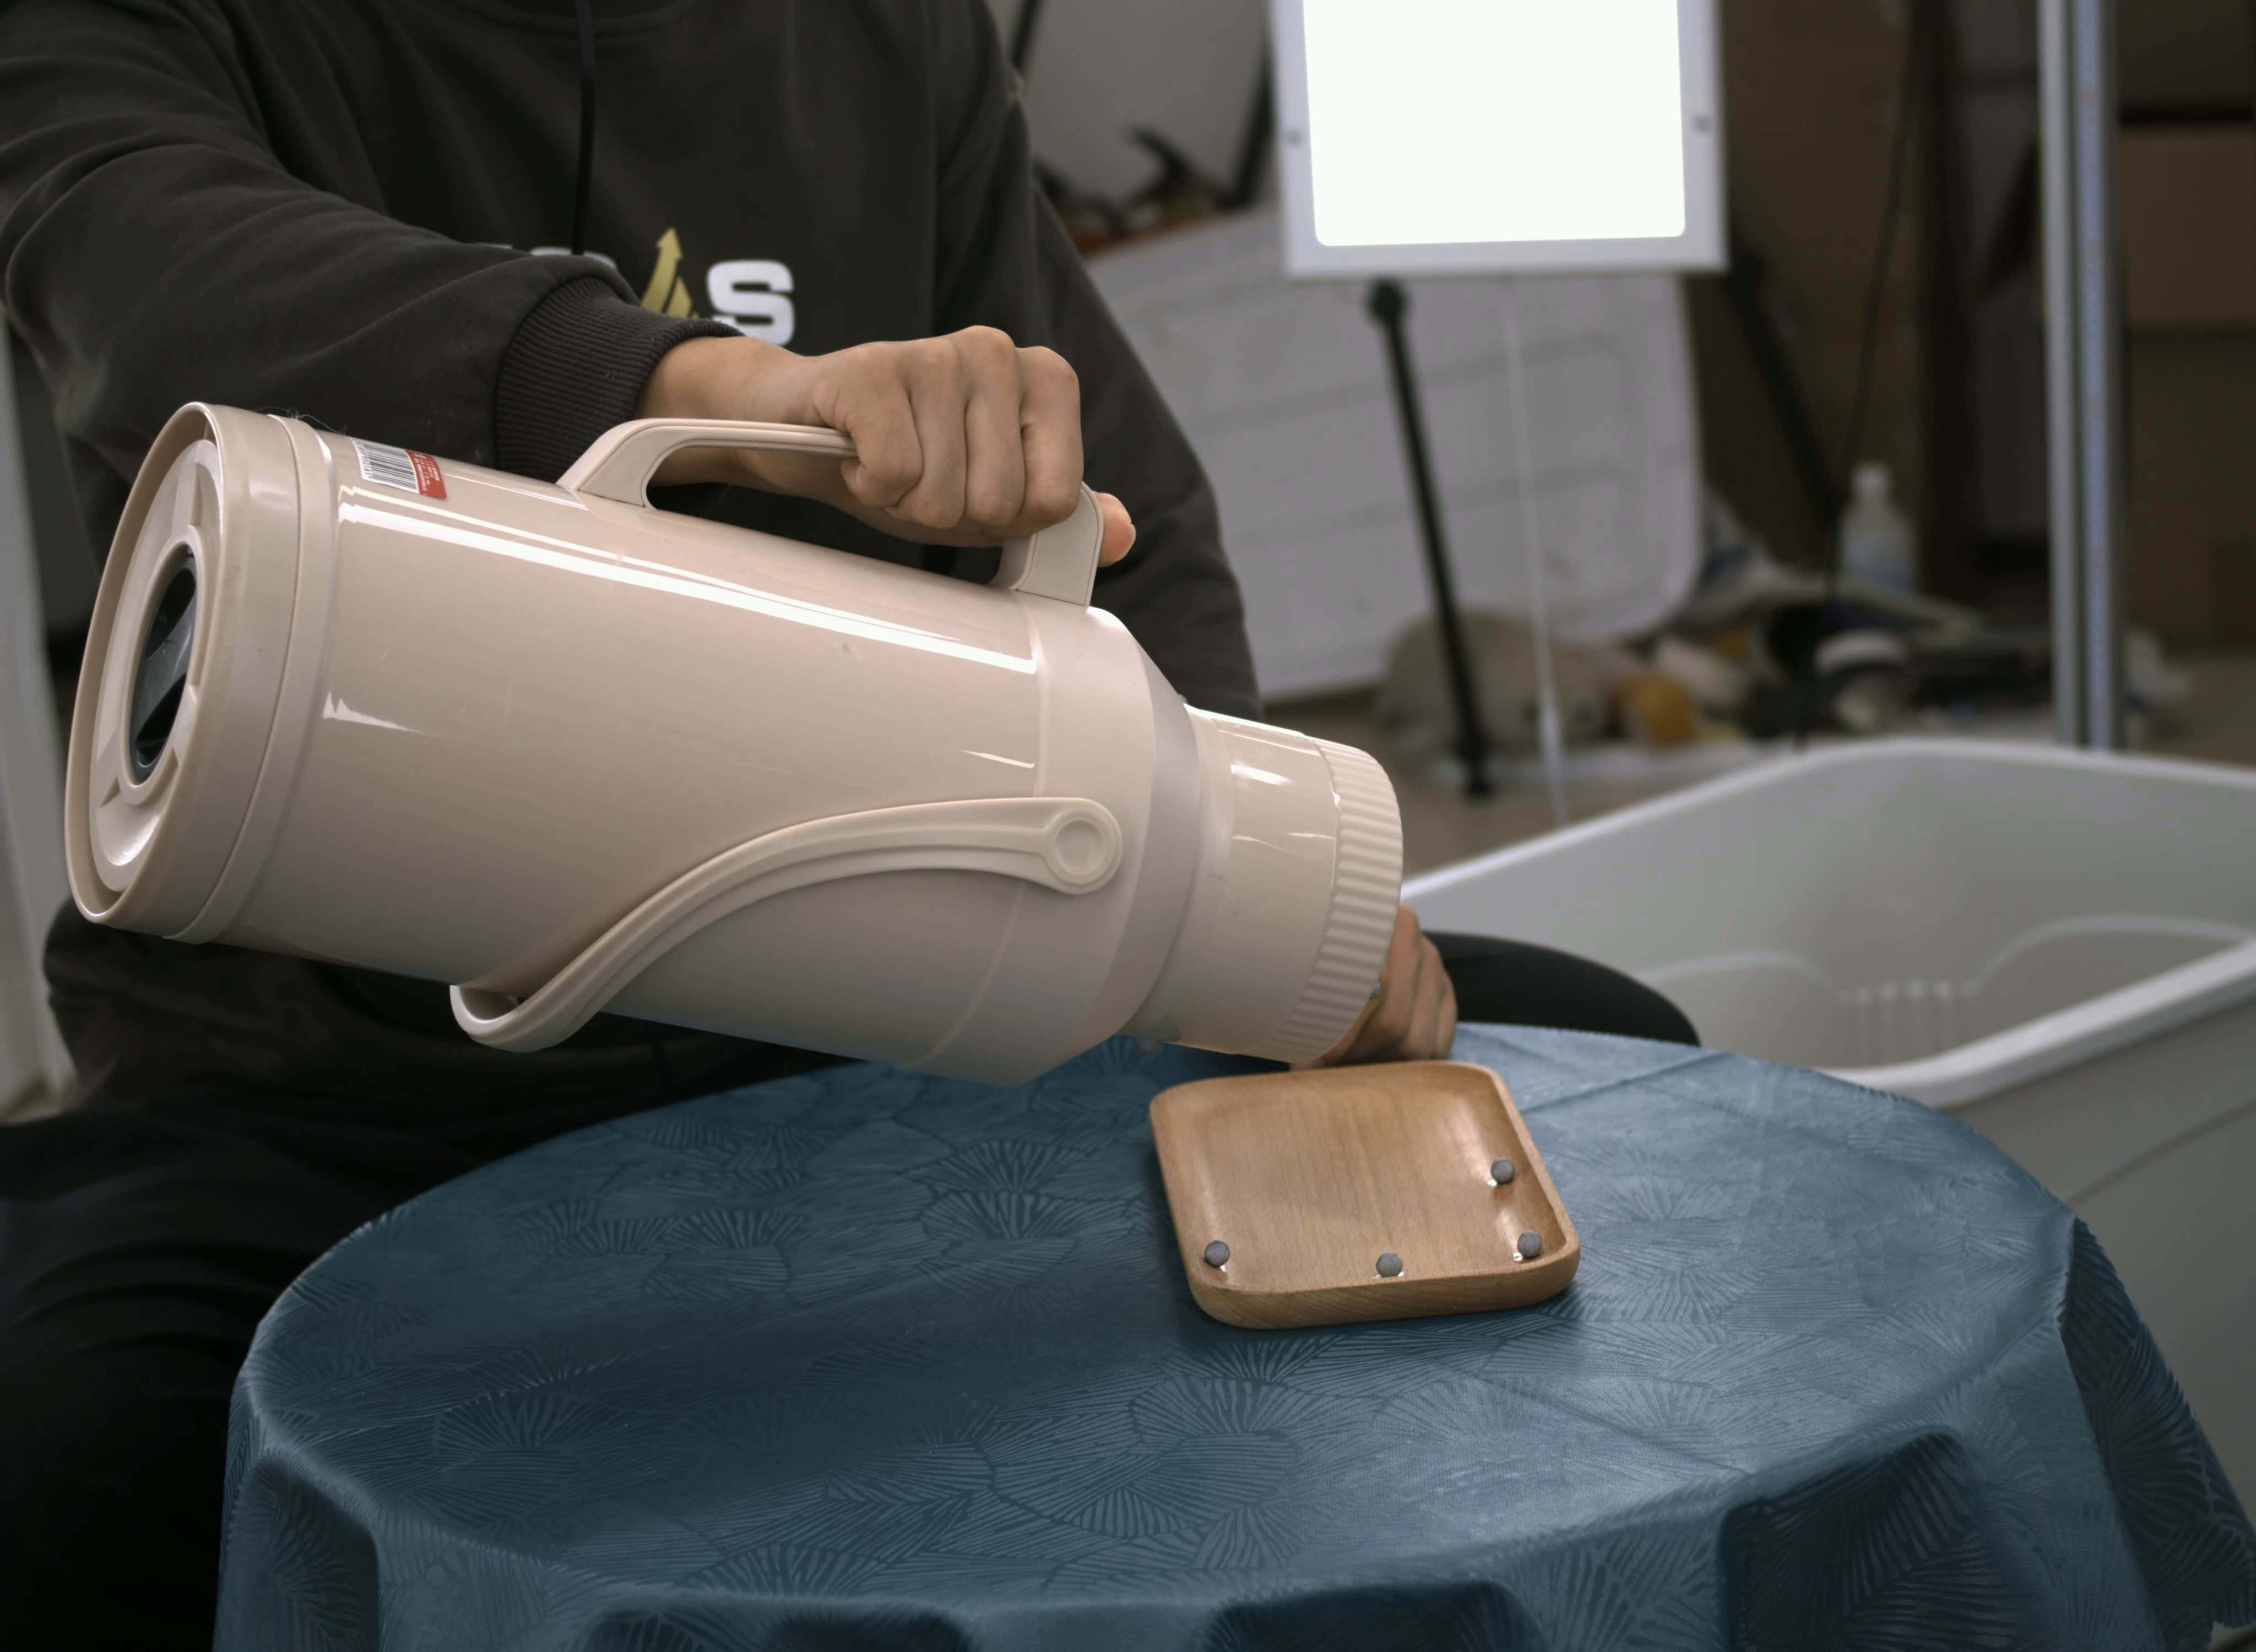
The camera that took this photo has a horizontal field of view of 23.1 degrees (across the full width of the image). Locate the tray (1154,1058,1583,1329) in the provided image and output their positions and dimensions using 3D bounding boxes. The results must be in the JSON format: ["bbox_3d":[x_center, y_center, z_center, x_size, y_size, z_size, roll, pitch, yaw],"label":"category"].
[{"bbox_3d":[0.078,0.122,1.858,0.130,0.023,0.250,-3,13,-1],"label":"tray"}]

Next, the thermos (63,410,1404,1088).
[{"bbox_3d":[-0.113,-0.026,1.714,0.399,0.207,0.178,11,-1,-20],"label":"thermos"}]
